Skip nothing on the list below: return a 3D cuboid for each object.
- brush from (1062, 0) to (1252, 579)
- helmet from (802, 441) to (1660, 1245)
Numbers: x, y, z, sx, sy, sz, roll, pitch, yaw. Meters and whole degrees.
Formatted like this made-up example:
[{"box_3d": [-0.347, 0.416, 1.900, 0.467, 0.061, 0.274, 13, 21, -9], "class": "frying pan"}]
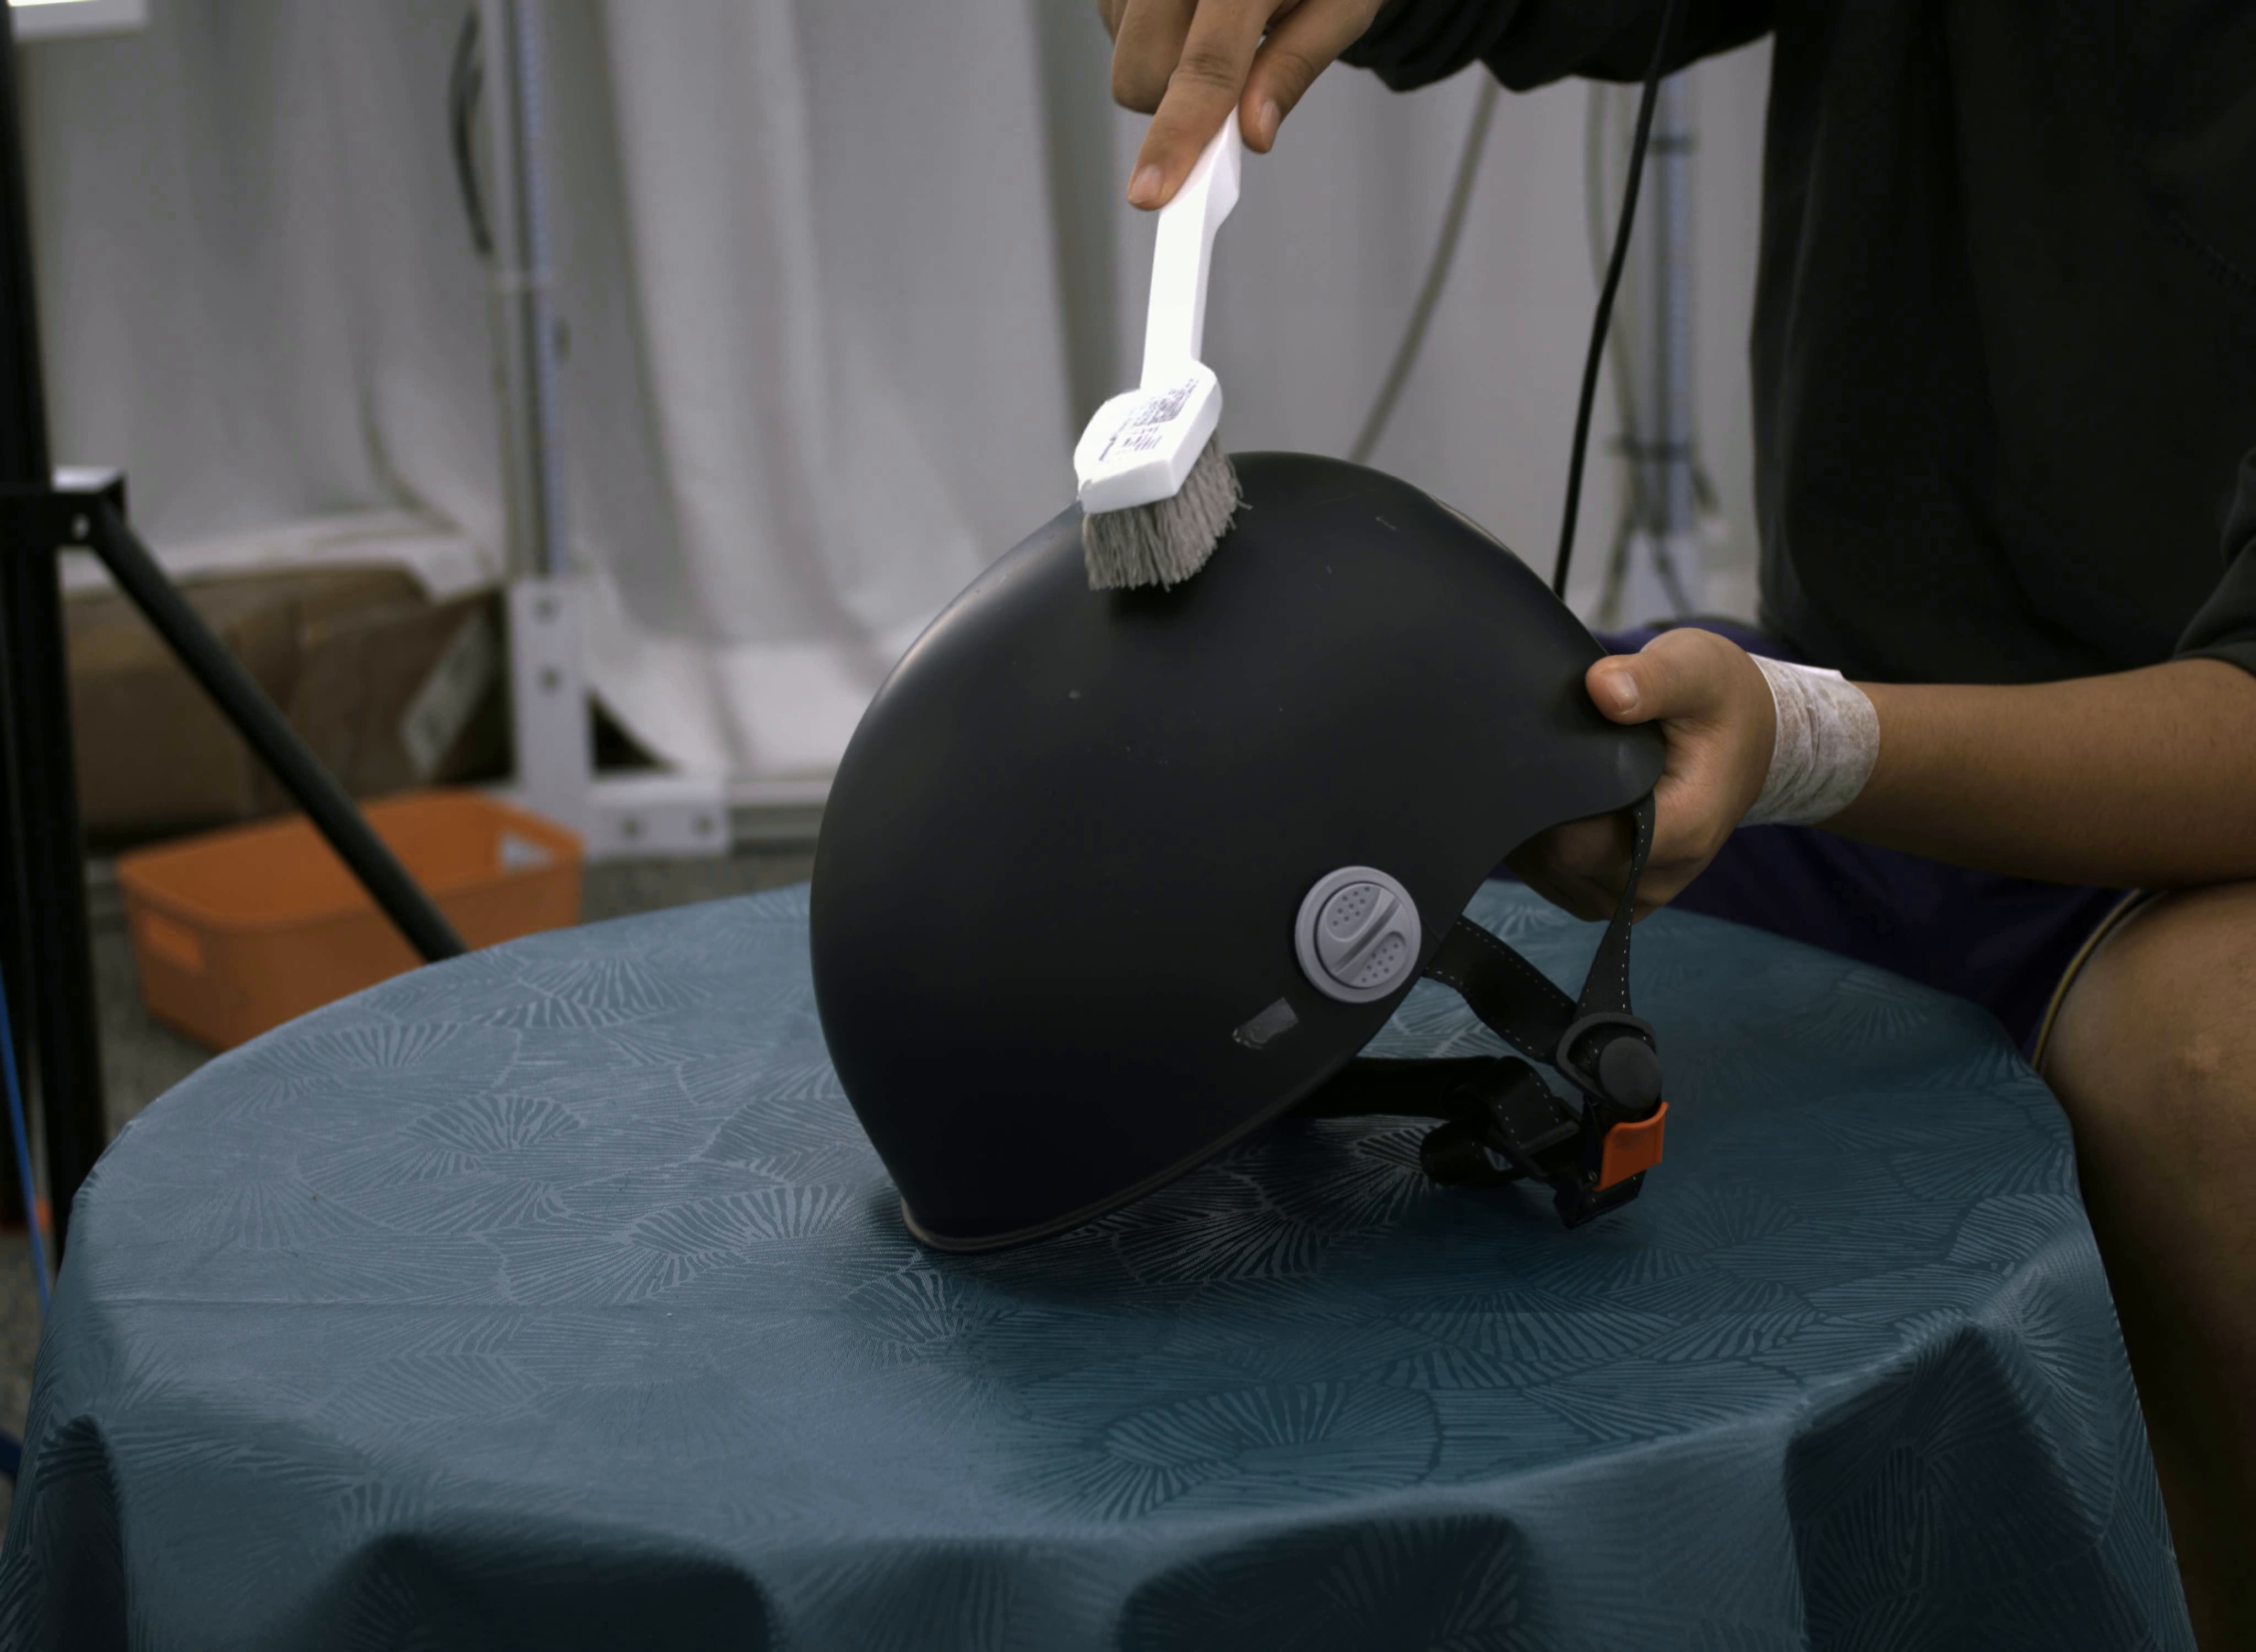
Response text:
[{"box_3d": [0.018, -0.159, 1.539, 0.035, 0.049, 0.245, -8, 42, 19], "class": "brush"}, {"box_3d": [0.012, -0.013, 1.544, 0.269, 0.166, 0.234, -36, 14, -27], "class": "helmet"}]
